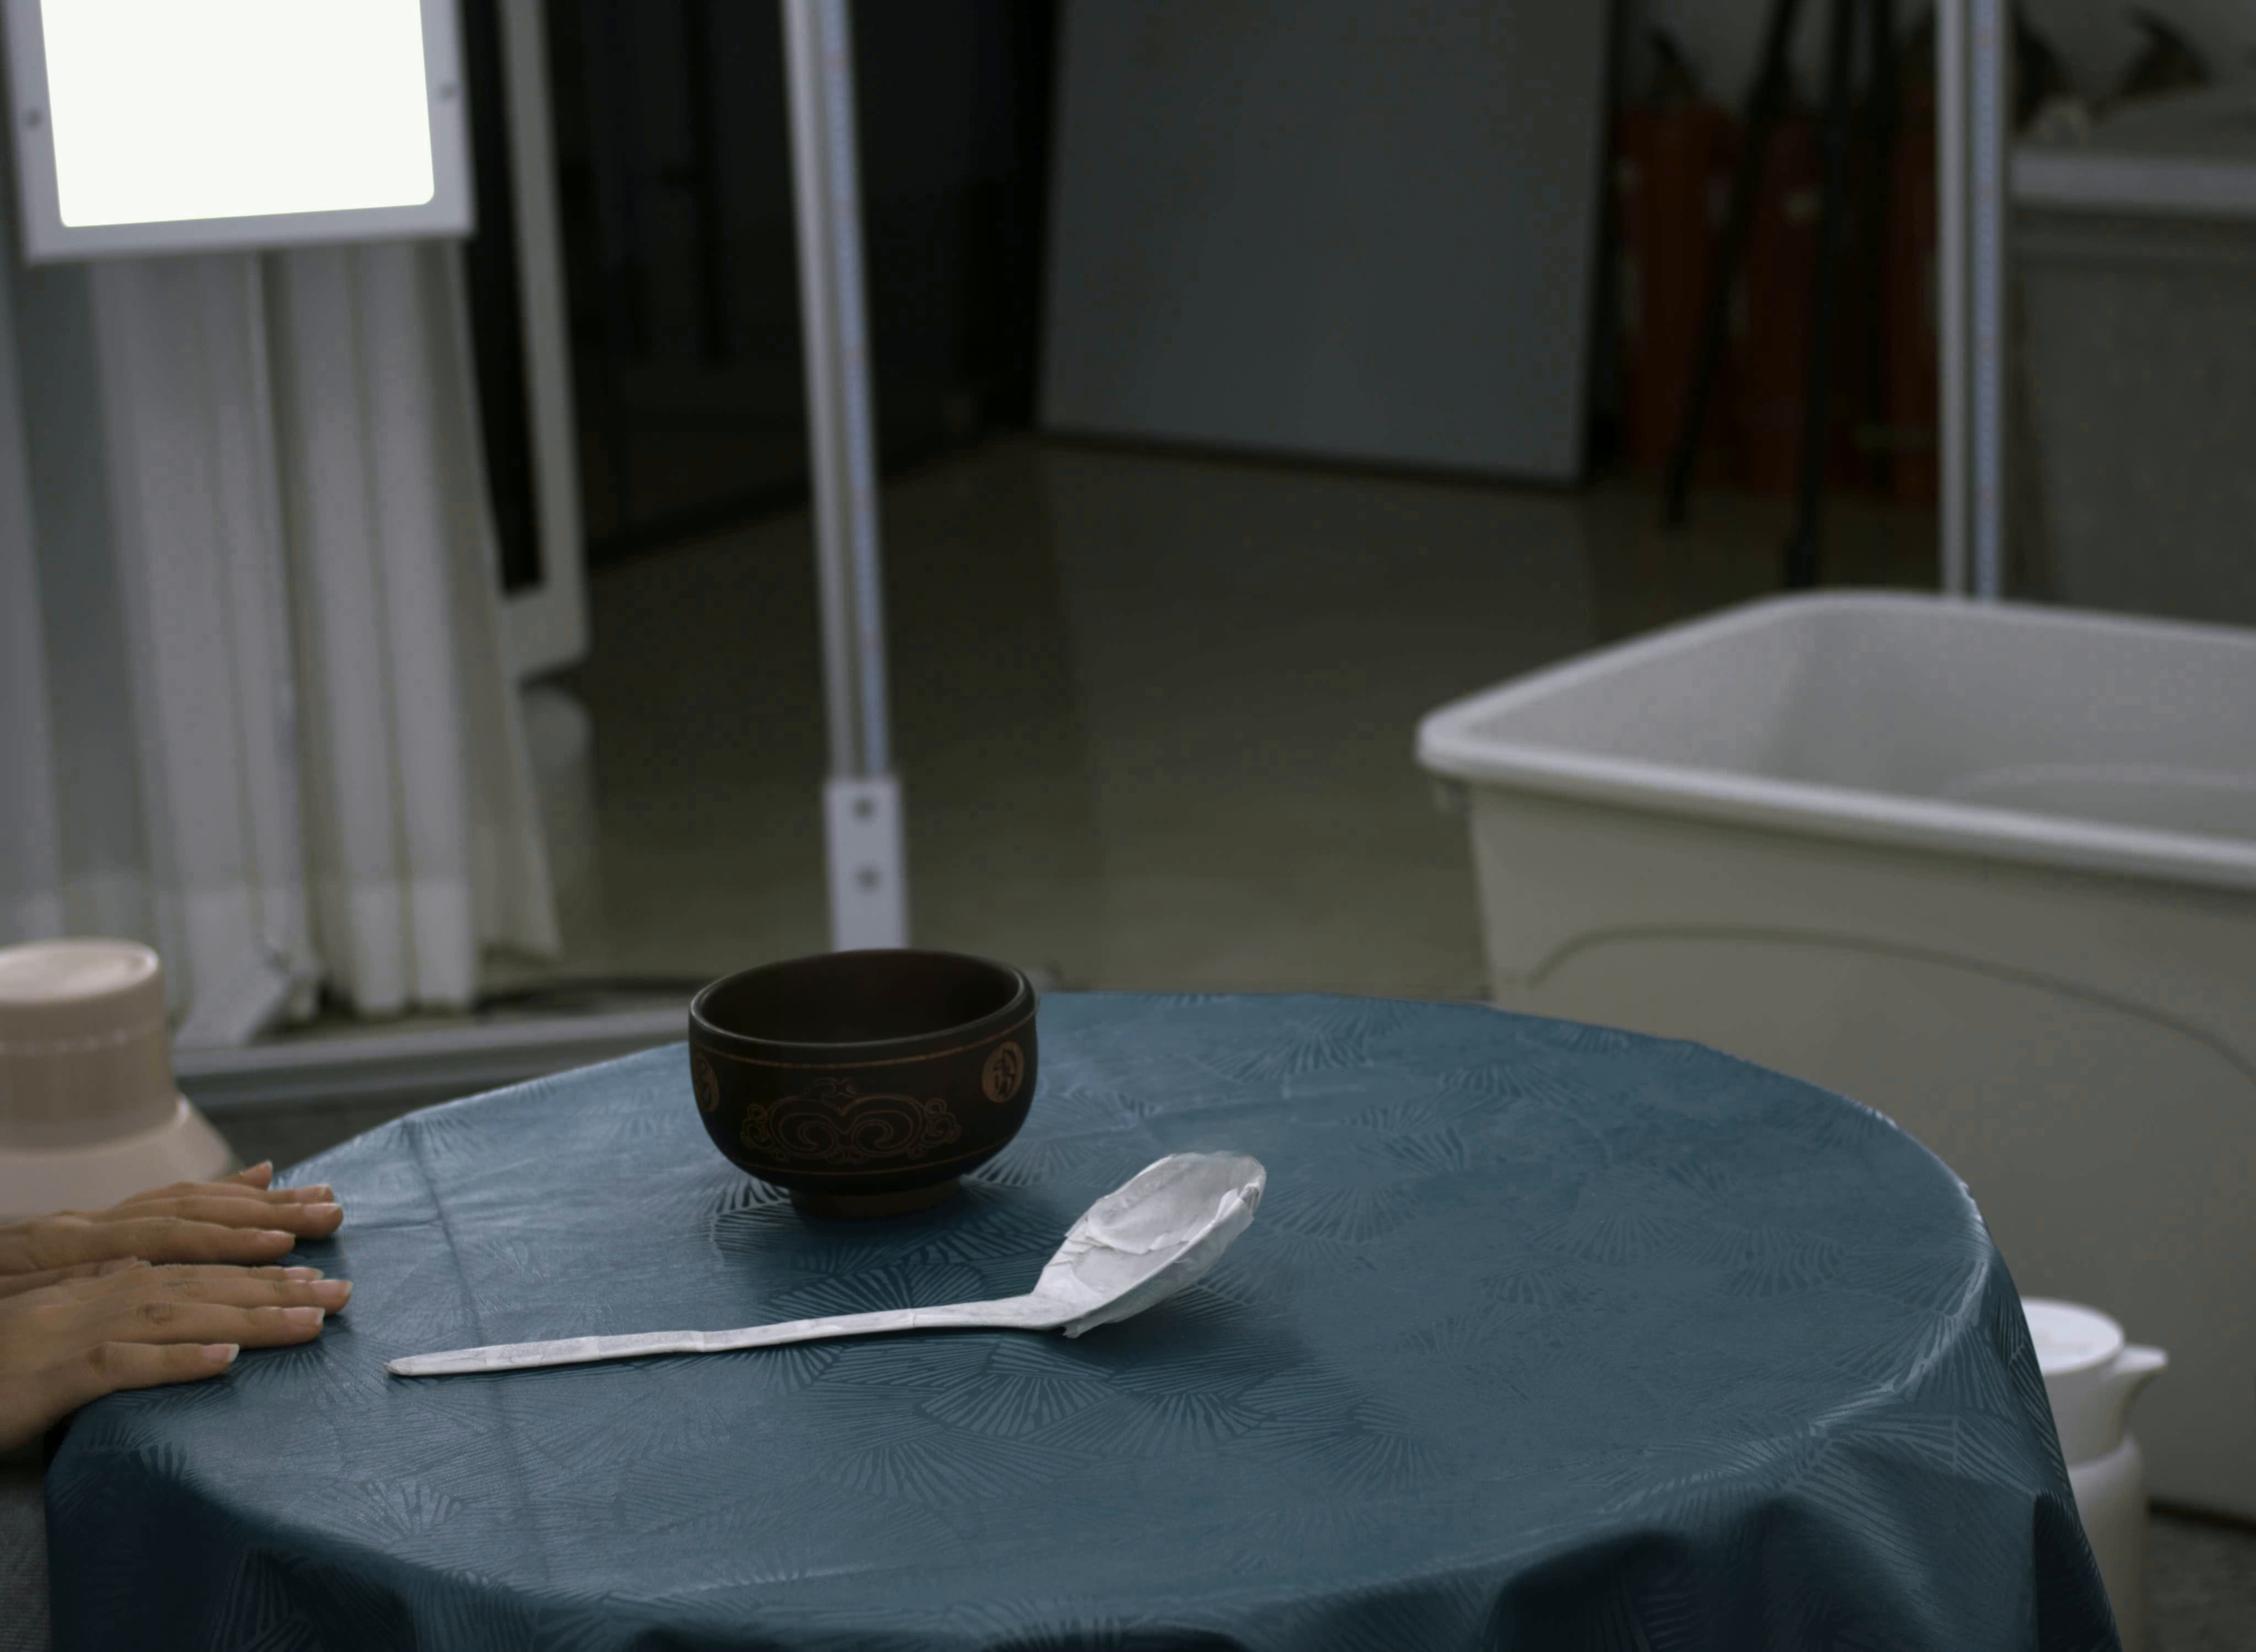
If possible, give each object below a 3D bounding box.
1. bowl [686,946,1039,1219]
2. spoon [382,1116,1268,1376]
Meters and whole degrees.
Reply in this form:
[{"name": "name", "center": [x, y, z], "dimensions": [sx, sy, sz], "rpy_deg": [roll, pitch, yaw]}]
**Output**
[{"name": "bowl", "center": [-0.086, 0.088, 1.778], "dimensions": [0.116, 0.070, 0.118], "rpy_deg": [-4, 13, 0]}, {"name": "spoon", "center": [-0.092, 0.128, 1.650], "dimensions": [0.274, 0.060, 0.101], "rpy_deg": [-4, 10, 1]}]
